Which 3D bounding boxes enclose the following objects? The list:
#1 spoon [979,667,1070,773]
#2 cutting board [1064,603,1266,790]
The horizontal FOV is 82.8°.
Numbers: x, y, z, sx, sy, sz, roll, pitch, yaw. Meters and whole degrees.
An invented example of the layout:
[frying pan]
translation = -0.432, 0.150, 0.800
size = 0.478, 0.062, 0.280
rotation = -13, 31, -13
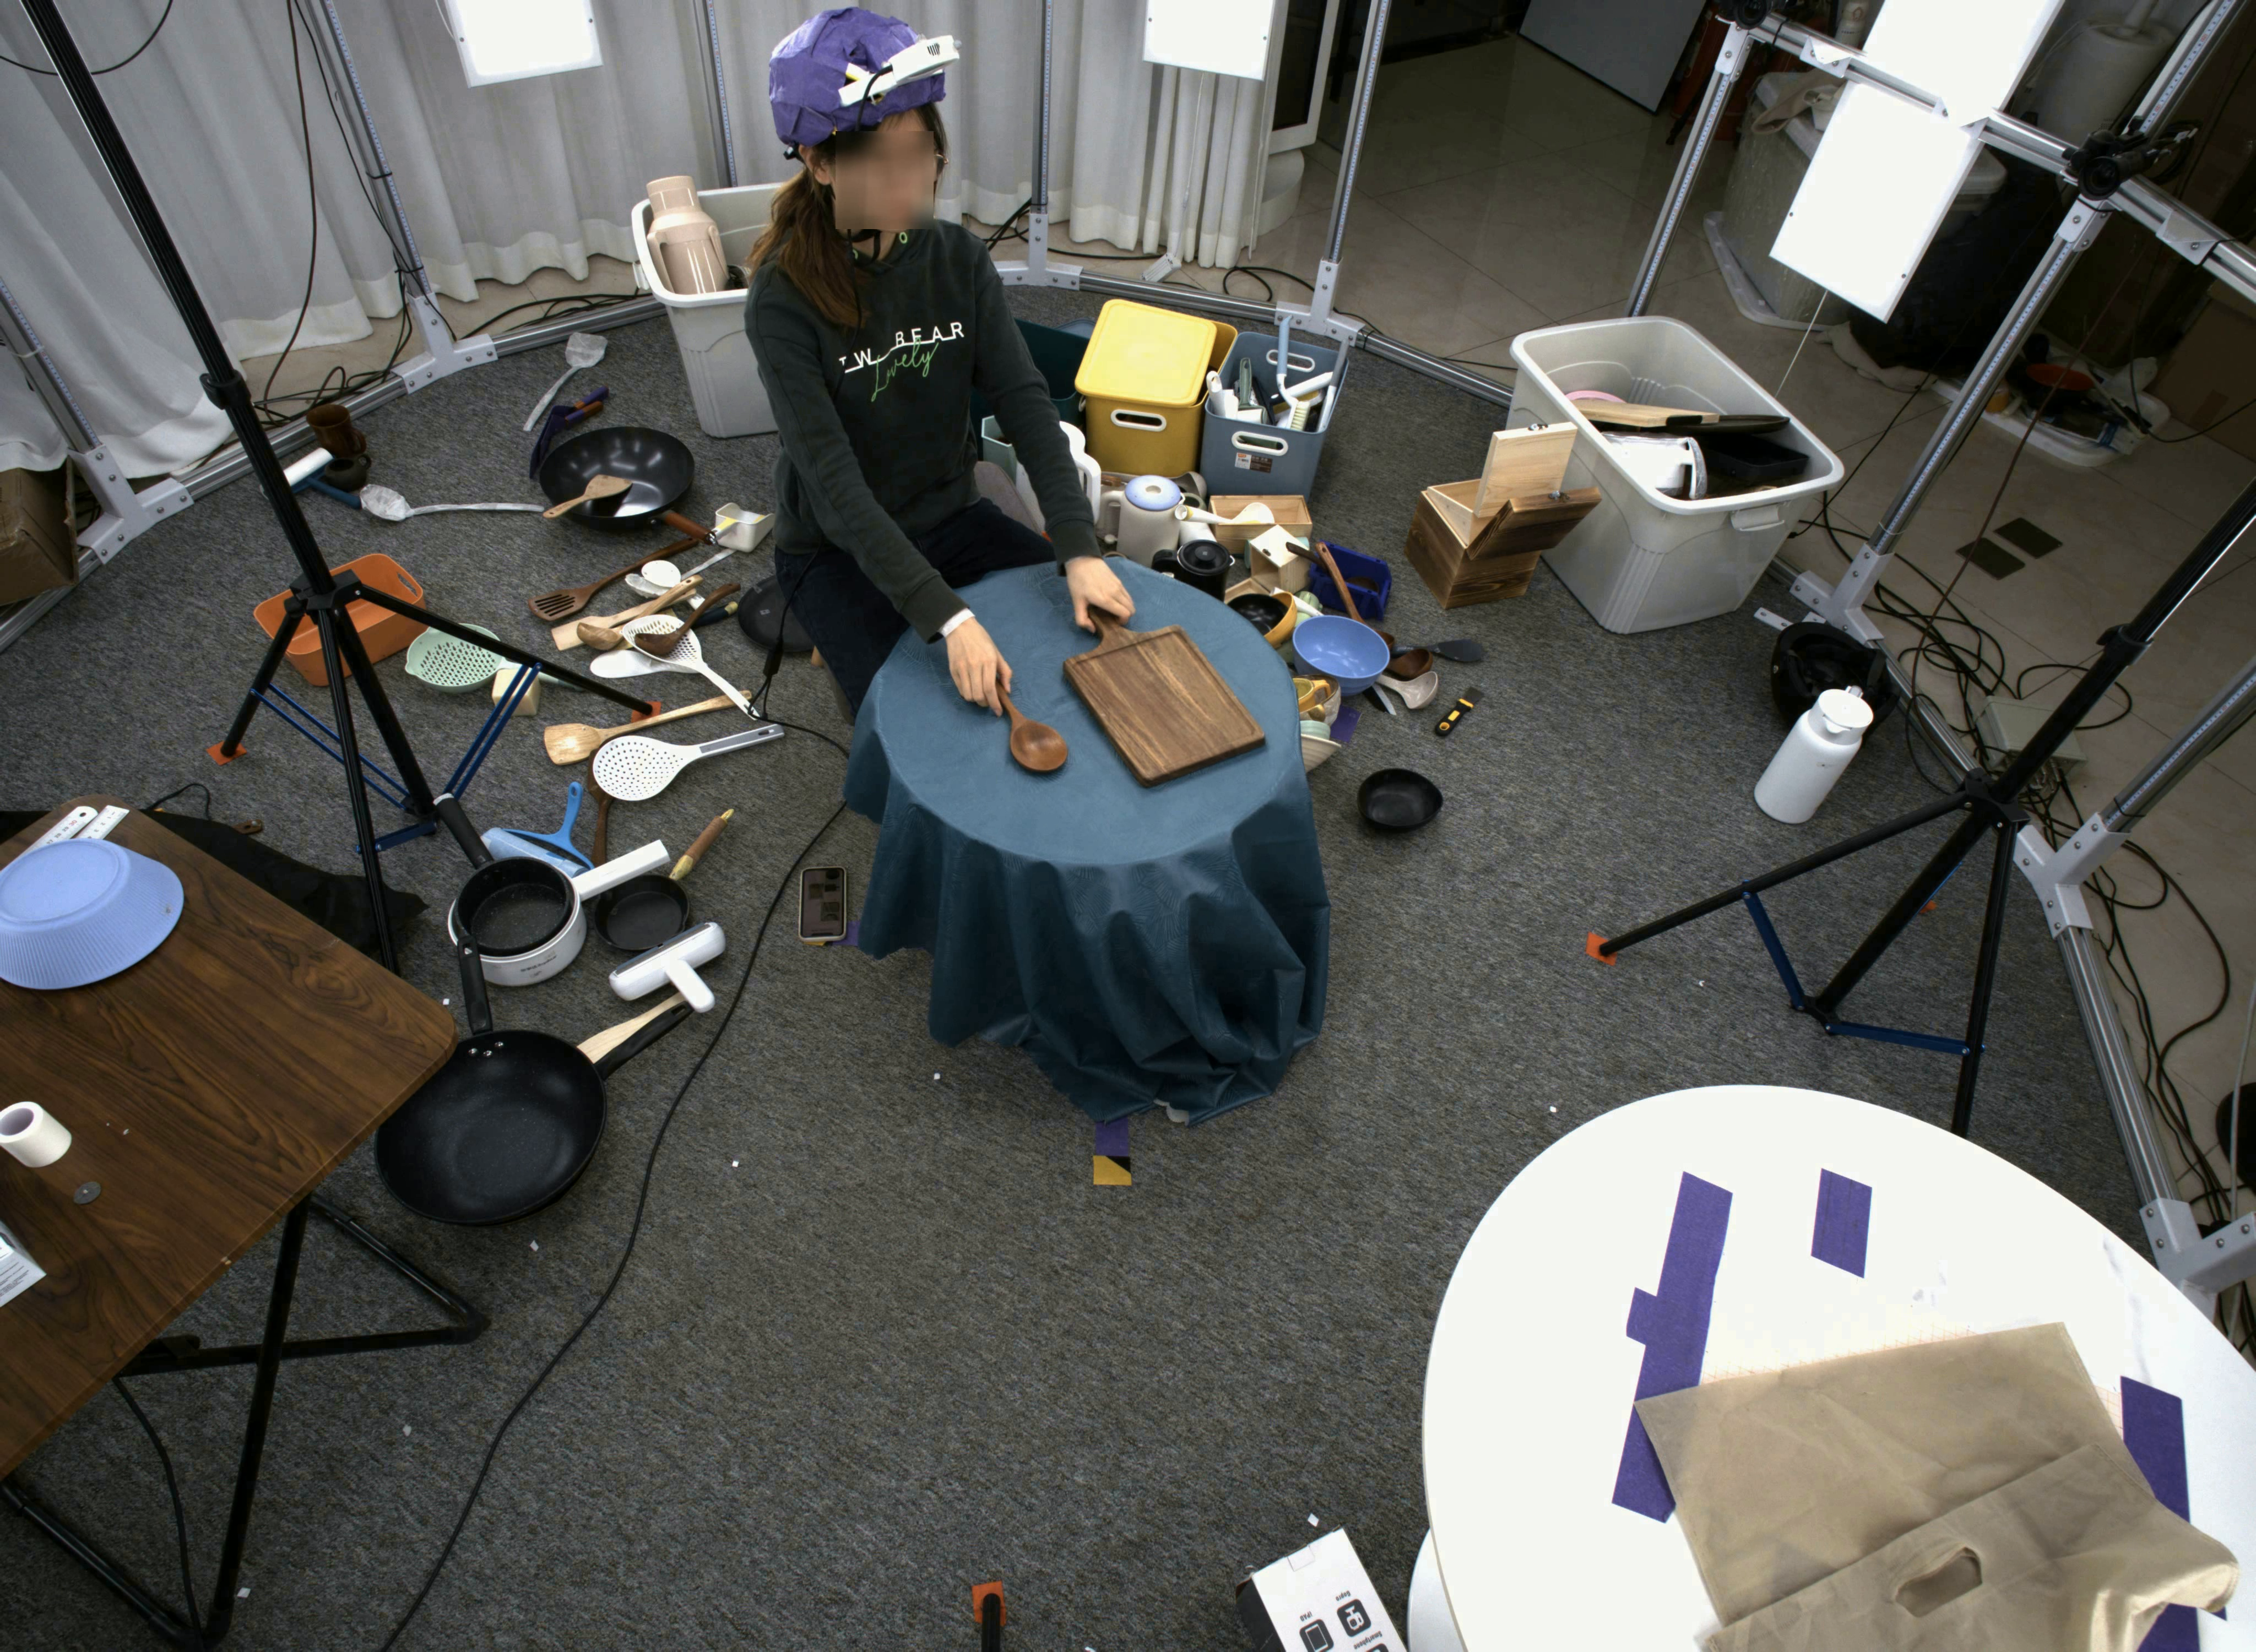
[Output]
[spoon]
translation = -0.151, -0.149, 1.789
size = 0.076, 0.017, 0.220
rotation = -23, 56, -19
[cutting board]
translation = 0.027, -0.208, 1.852
size = 0.201, 0.022, 0.360
rotation = -21, 54, -19
